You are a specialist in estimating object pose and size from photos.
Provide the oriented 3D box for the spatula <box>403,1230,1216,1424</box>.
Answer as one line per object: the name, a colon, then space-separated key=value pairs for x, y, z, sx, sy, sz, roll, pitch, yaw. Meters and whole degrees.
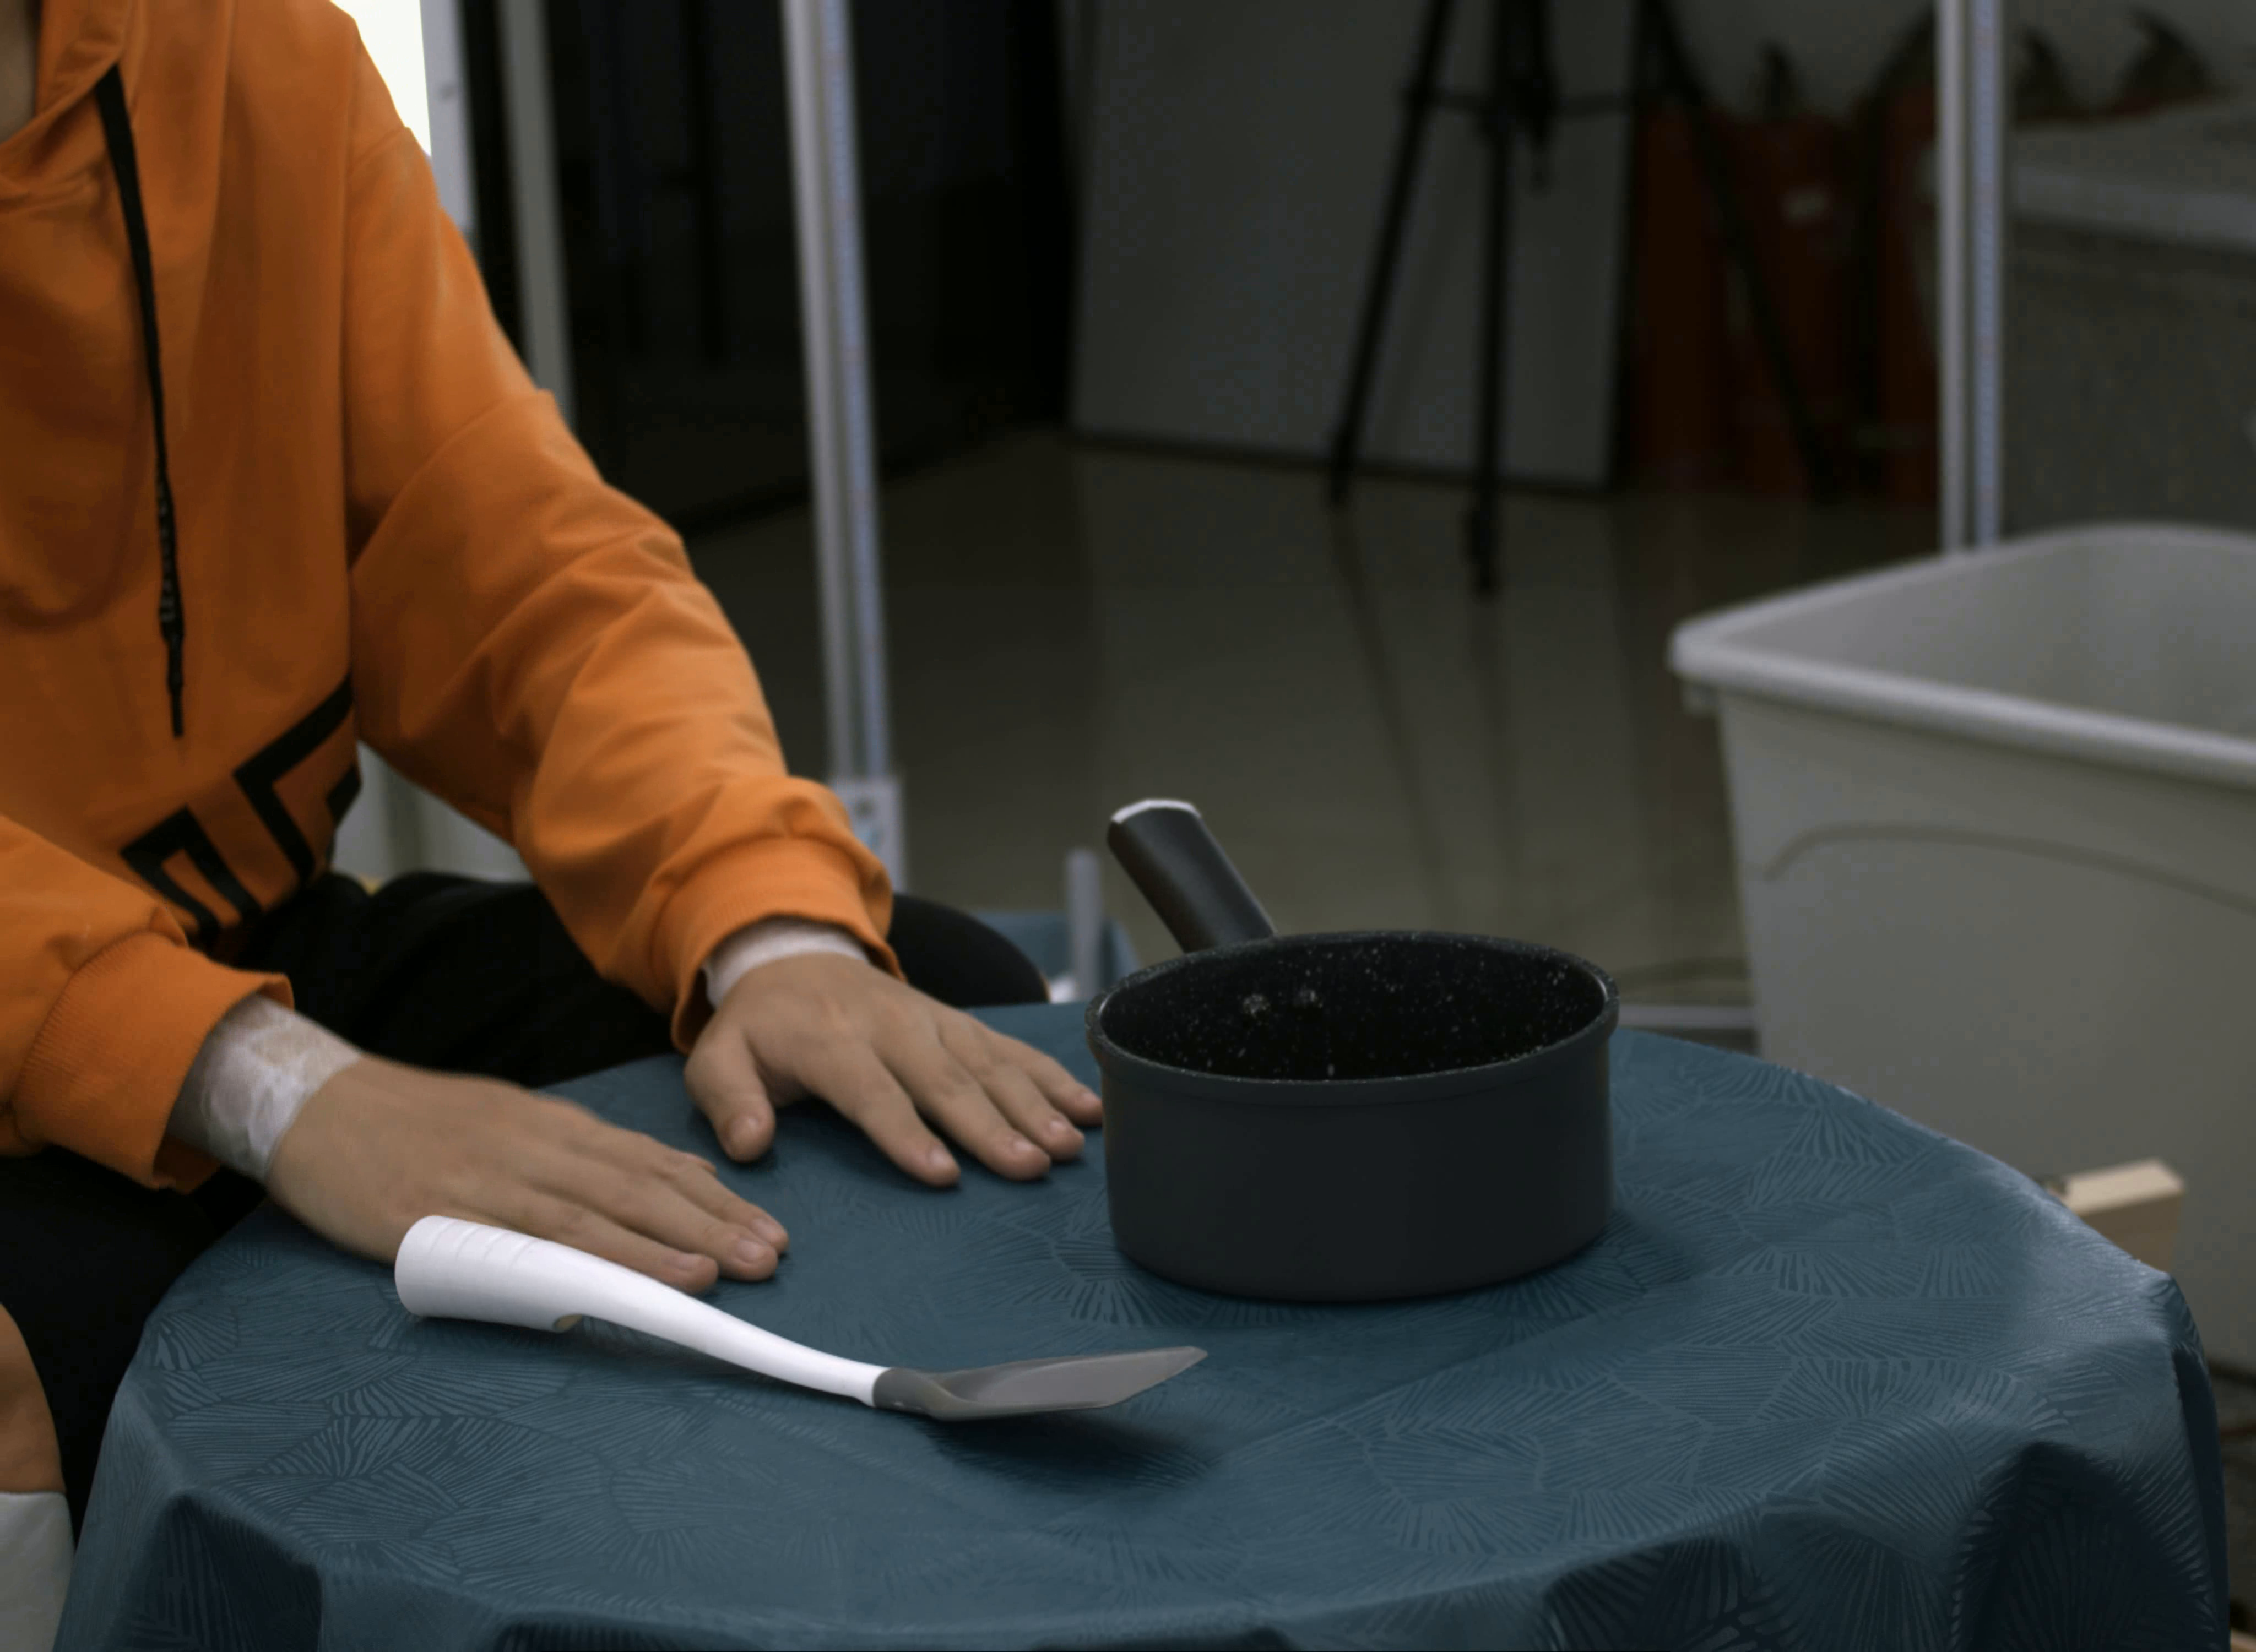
spatula: x=-0.100 y=0.153 z=1.606 sx=0.289 sy=0.032 sz=0.057 roll=5 pitch=13 yaw=36

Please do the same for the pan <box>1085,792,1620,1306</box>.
pan: x=0.055 y=0.070 z=1.785 sx=0.169 sy=0.087 sz=0.331 roll=-6 pitch=15 yaw=-11
